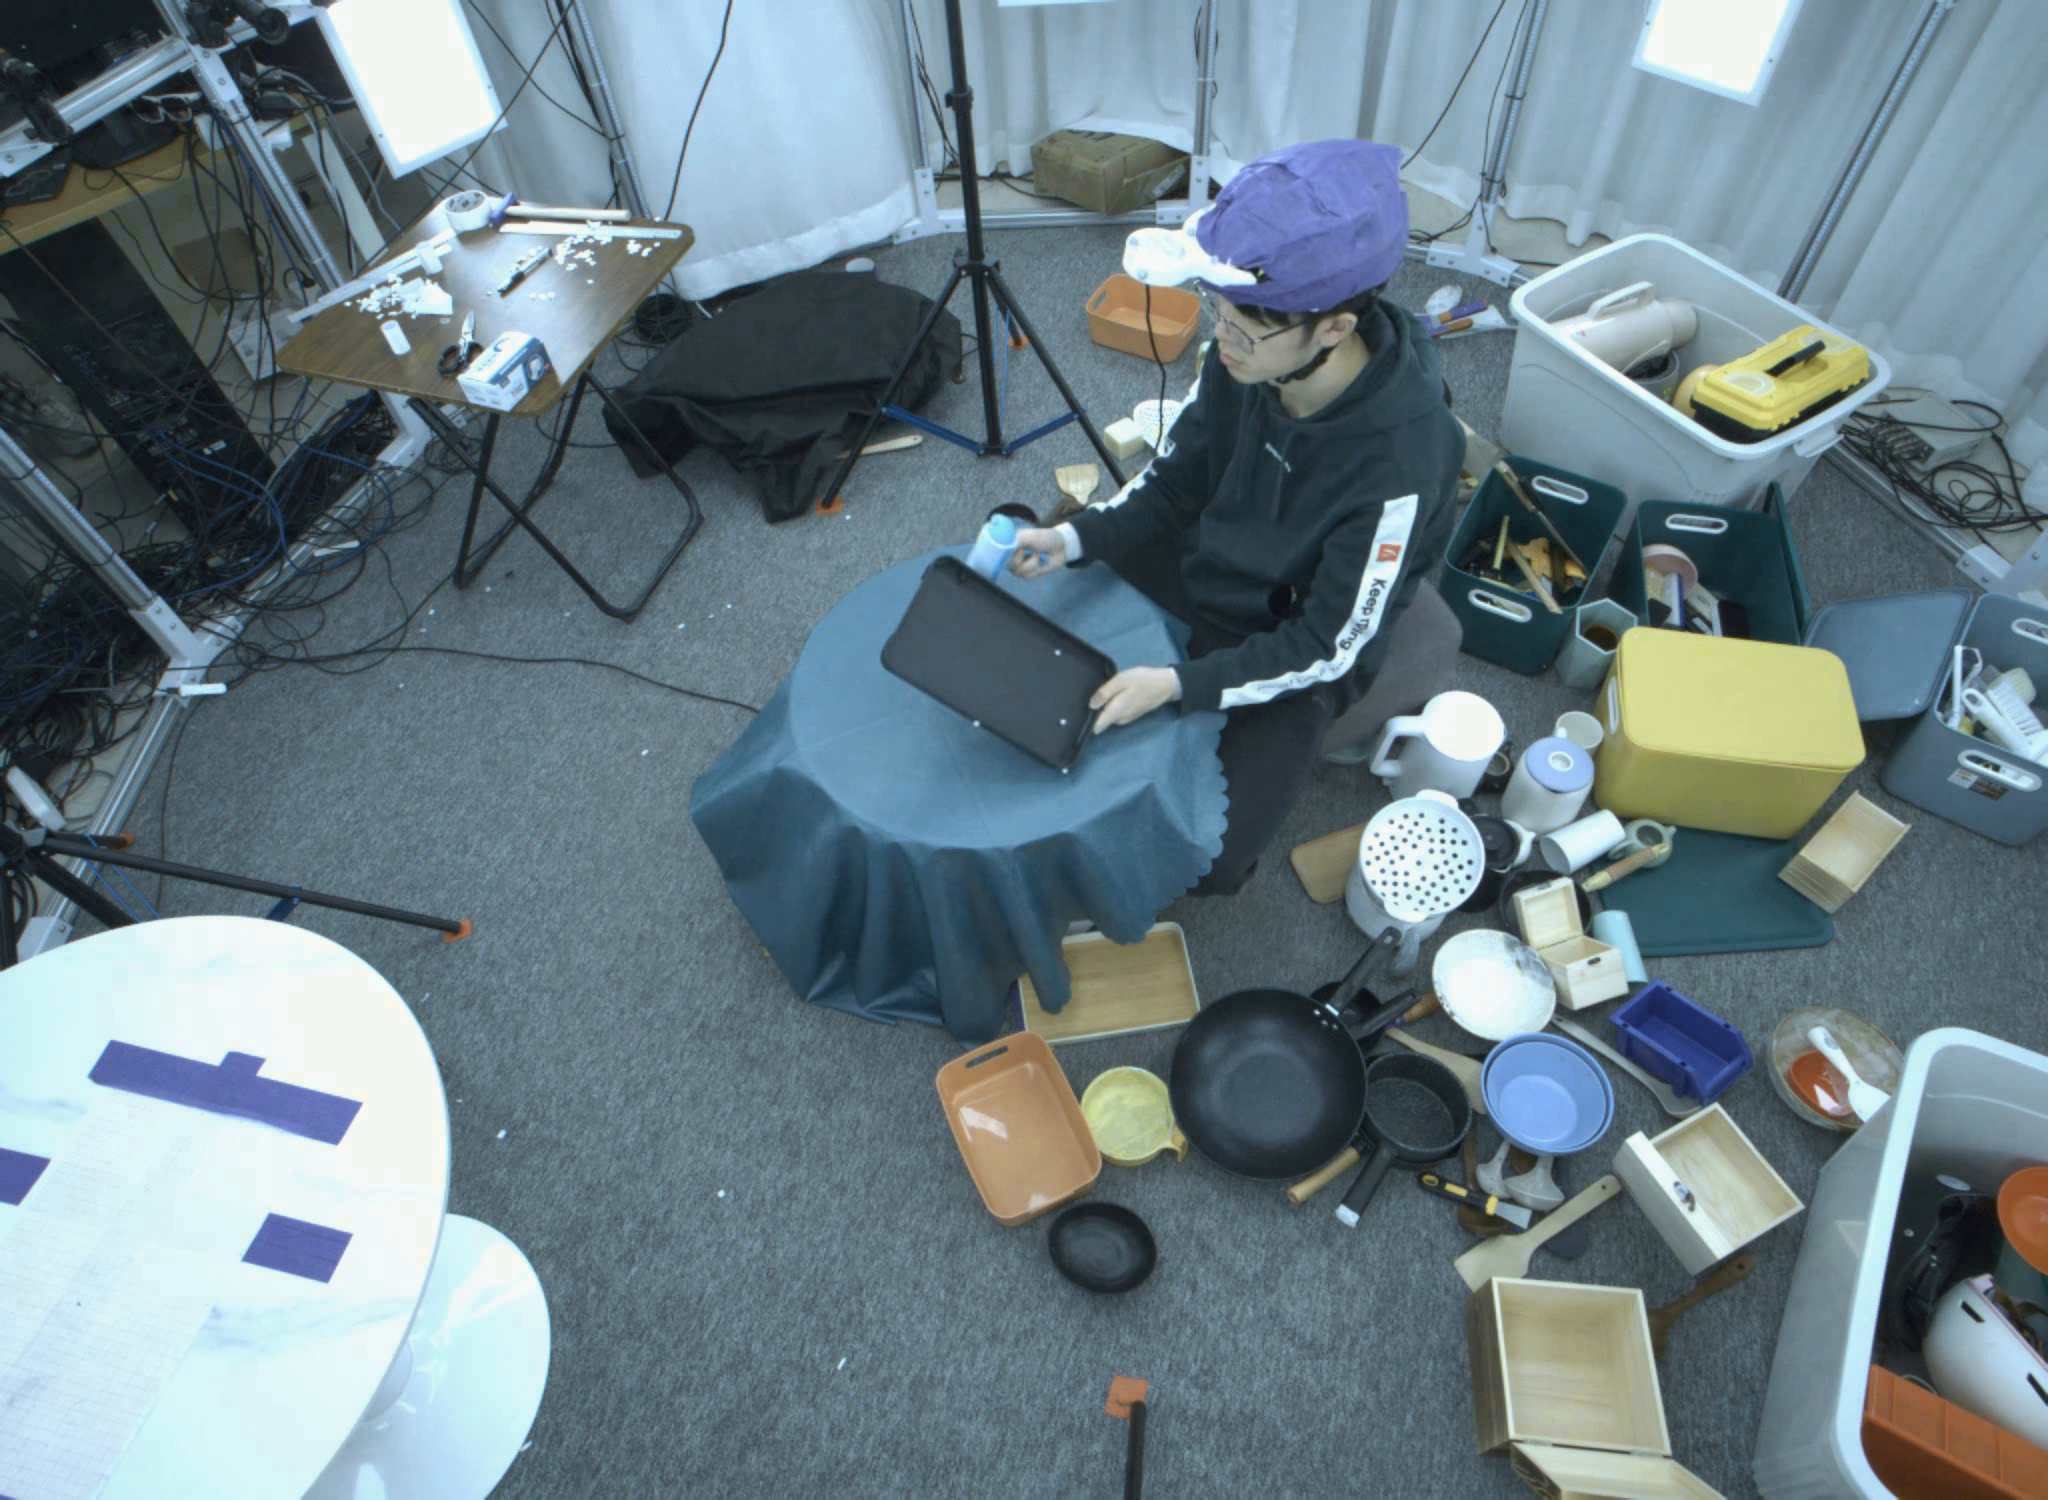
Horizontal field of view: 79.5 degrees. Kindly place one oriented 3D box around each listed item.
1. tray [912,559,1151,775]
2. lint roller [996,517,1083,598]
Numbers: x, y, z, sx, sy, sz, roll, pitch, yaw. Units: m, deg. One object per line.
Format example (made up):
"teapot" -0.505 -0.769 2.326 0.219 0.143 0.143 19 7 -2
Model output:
"tray" 0.014 -0.112 1.713 0.323 0.036 0.184 31 75 -19
"lint roller" 0.011 -0.259 1.794 0.067 0.228 0.182 42 42 11
